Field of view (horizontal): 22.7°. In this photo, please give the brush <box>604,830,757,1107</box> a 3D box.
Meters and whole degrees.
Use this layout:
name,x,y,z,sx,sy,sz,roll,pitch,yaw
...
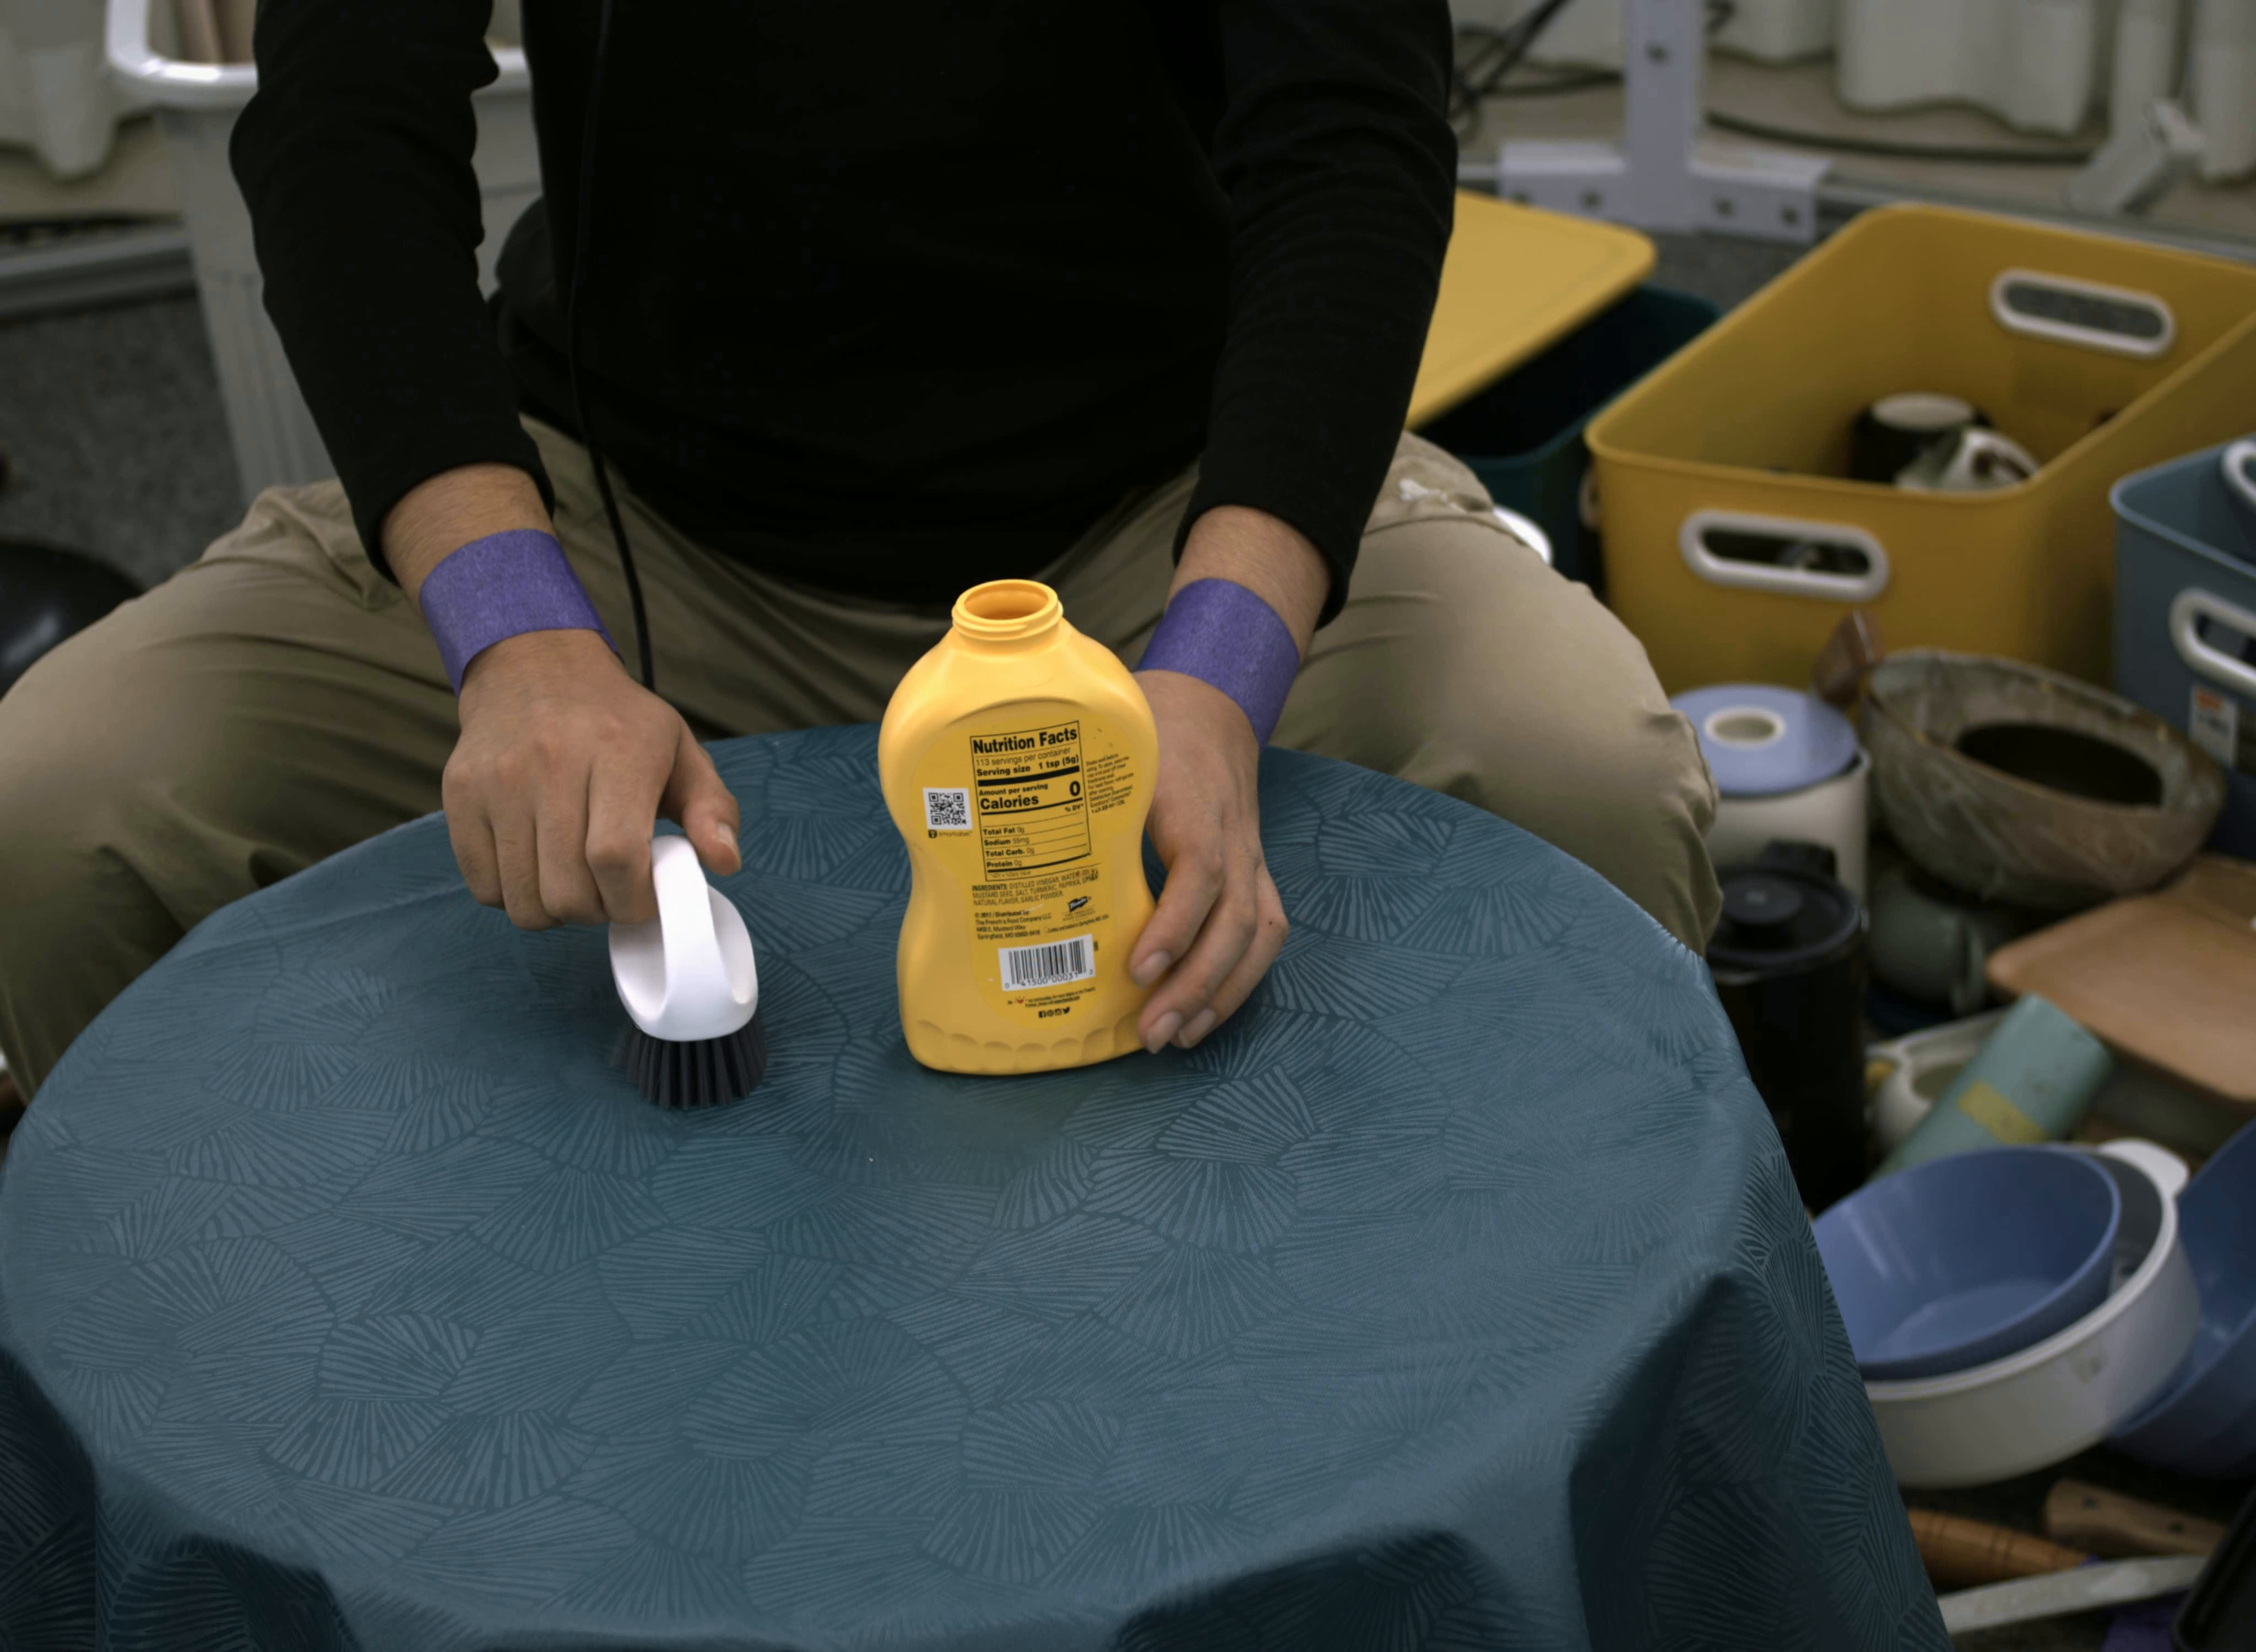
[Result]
name,x,y,z,sx,sy,sz,roll,pitch,yaw
brush,-0.157,0.043,1.949,0.050,0.071,0.100,-5,28,-8

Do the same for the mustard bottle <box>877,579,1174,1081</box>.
name,x,y,z,sx,sy,sz,roll,pitch,yaw
mustard bottle,-0.037,0.000,1.918,0.098,0.170,0.060,-9,24,-7
